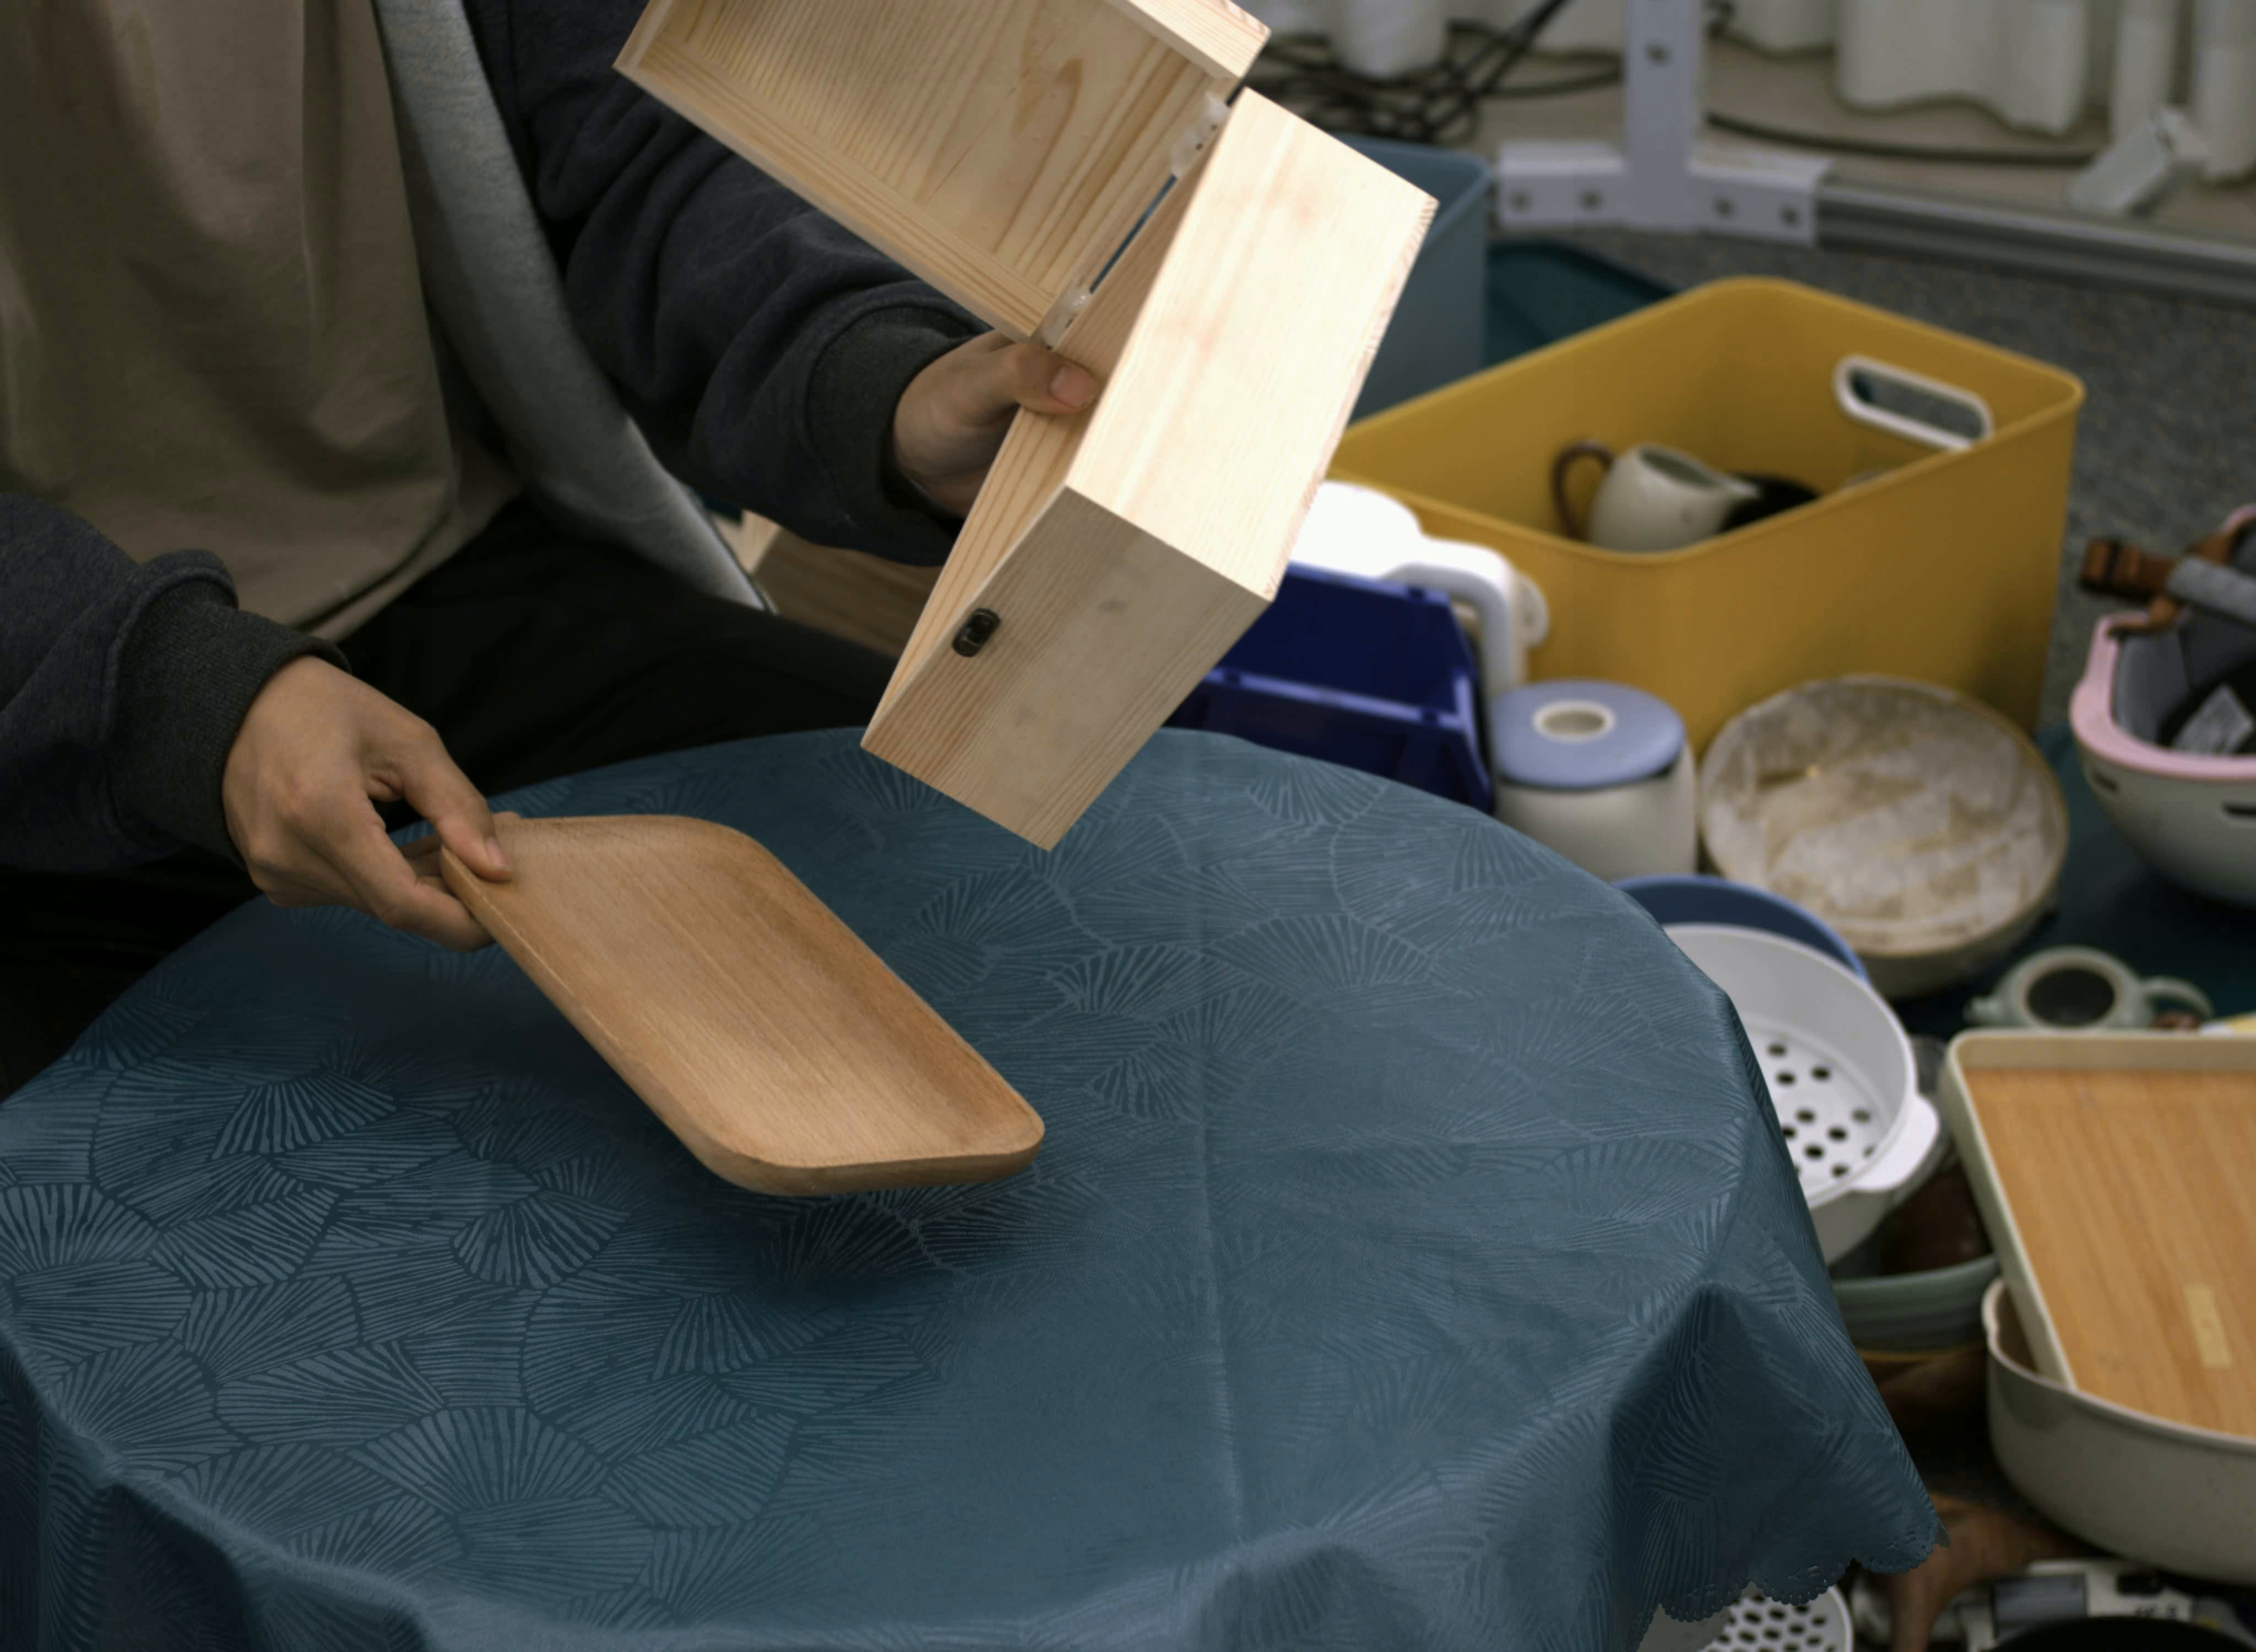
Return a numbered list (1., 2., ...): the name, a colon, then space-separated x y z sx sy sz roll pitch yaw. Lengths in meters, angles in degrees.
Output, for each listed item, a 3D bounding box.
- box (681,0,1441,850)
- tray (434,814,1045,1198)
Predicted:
1. box: -0.054 -0.184 1.873 0.252 0.178 0.270 29 53 -6
2. tray: -0.134 0.058 1.885 0.131 0.022 0.252 2 24 -34
